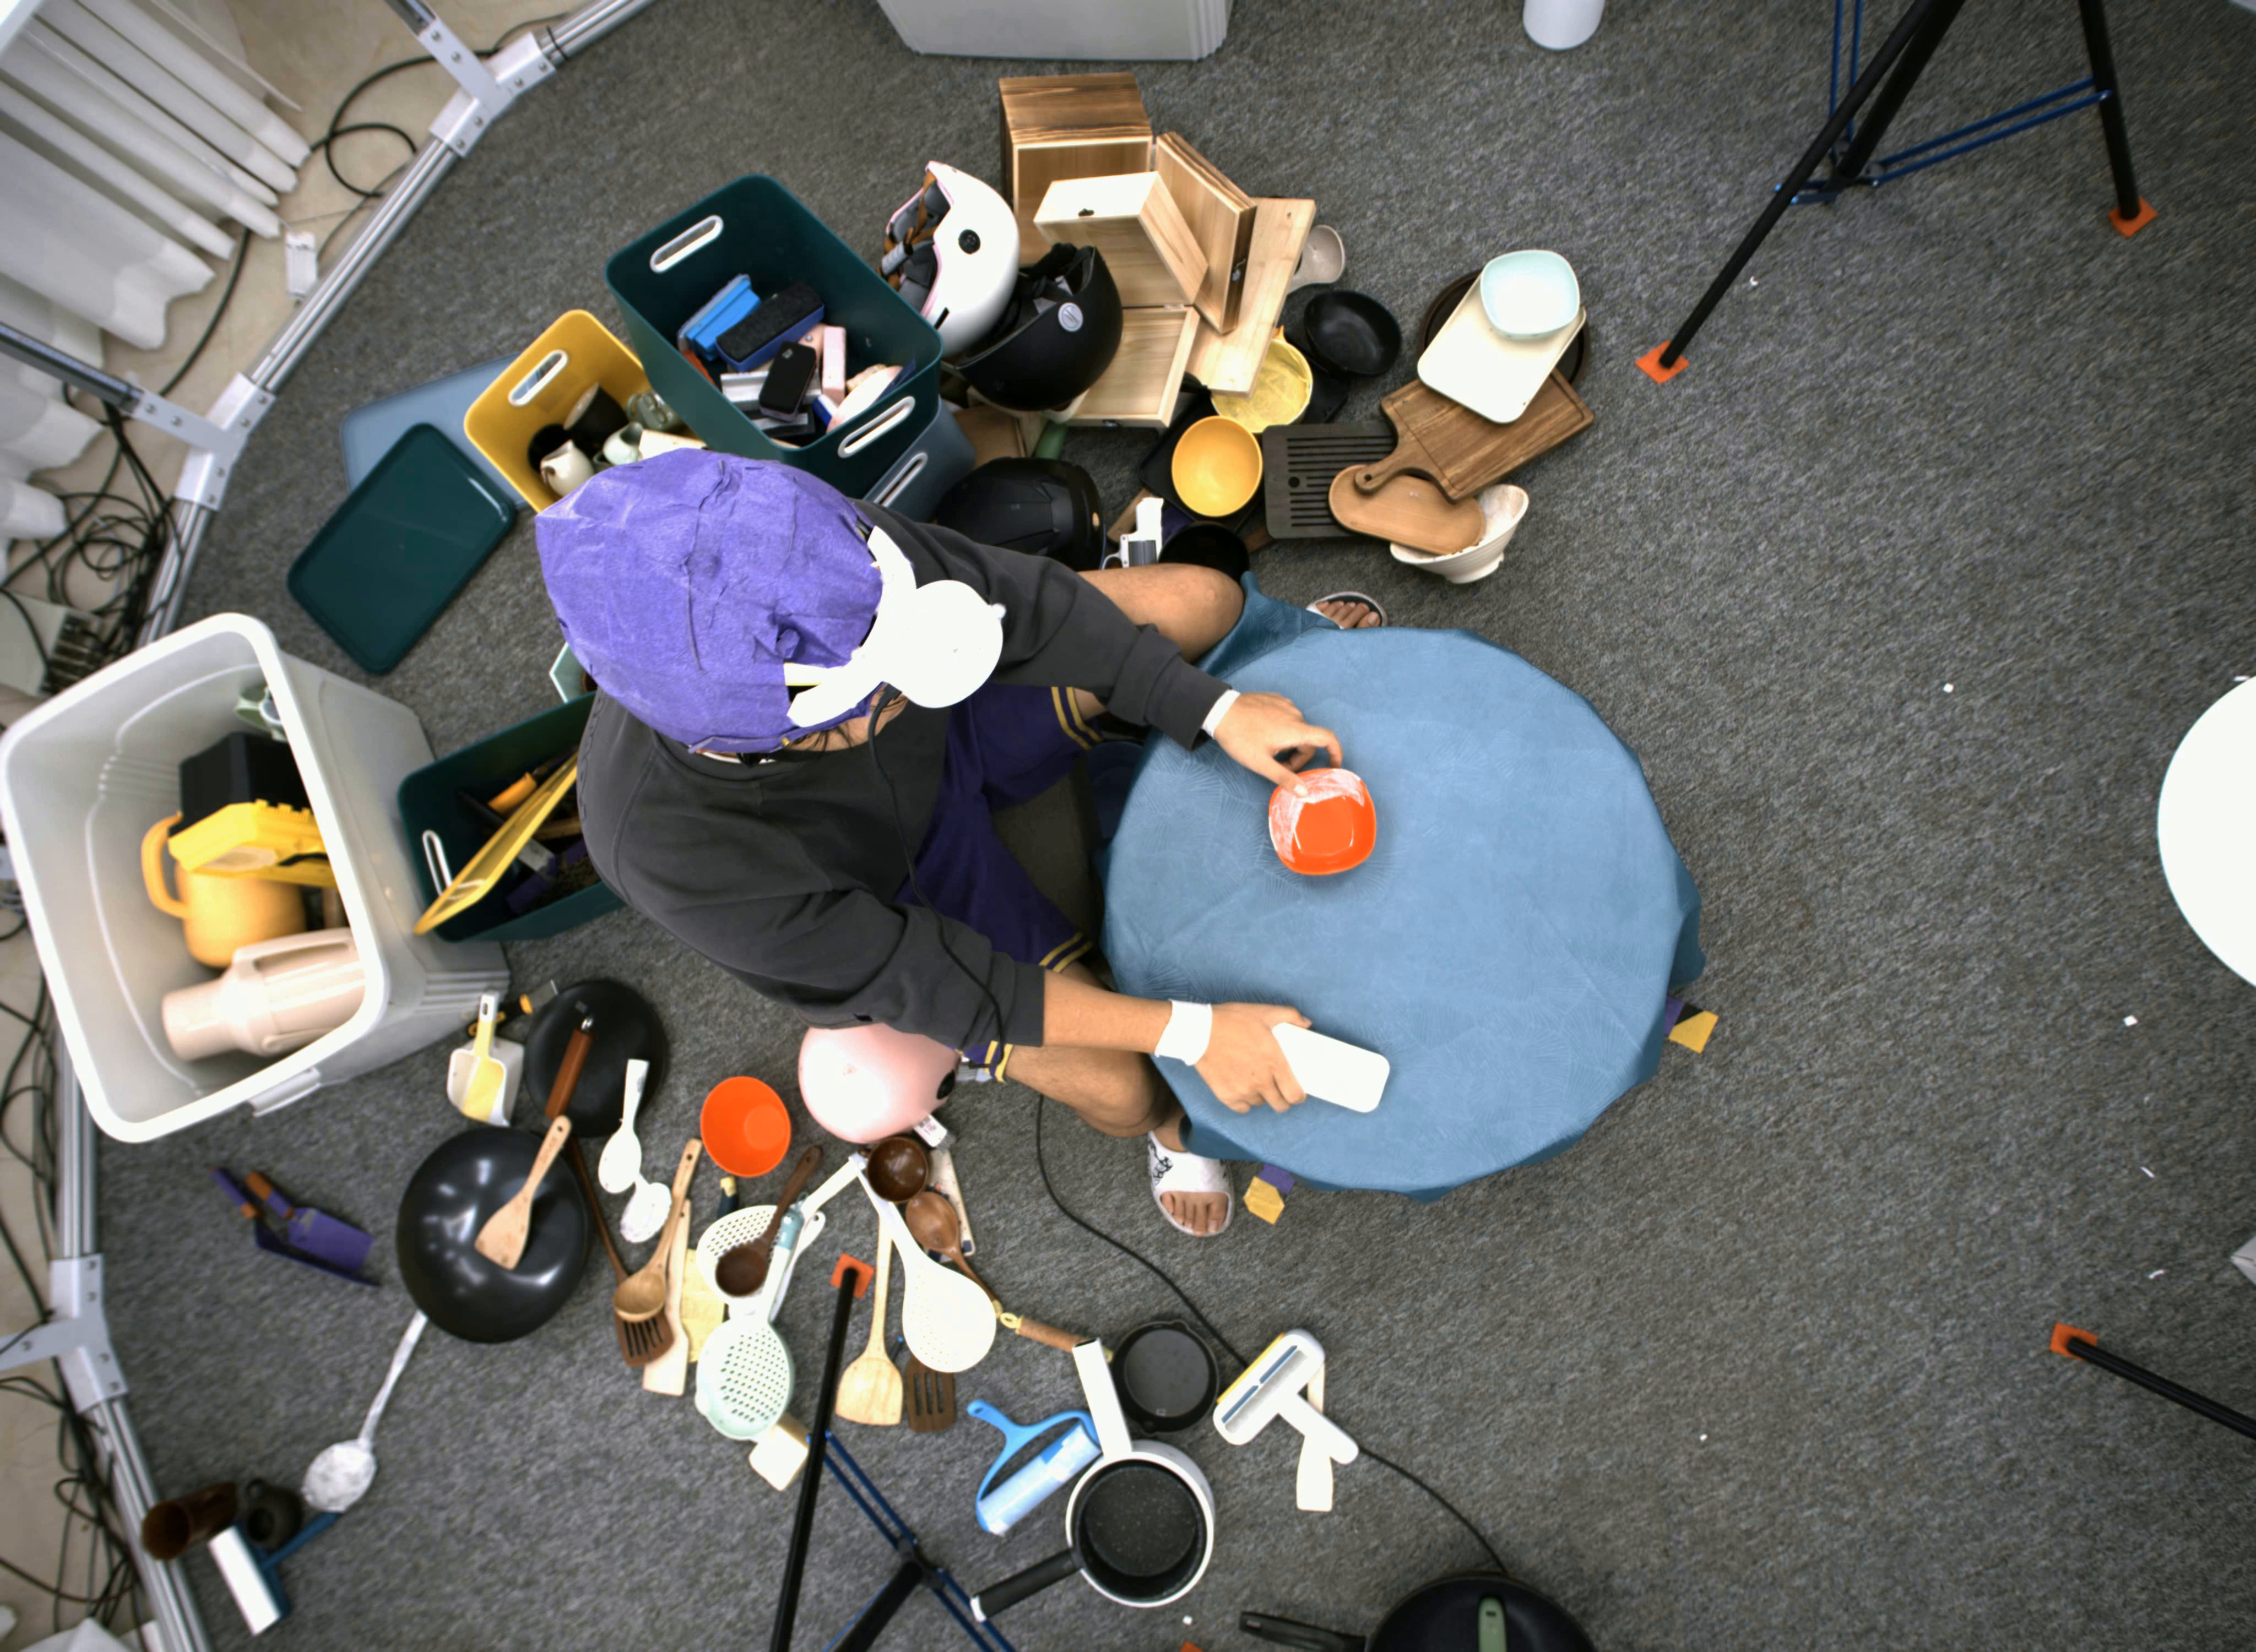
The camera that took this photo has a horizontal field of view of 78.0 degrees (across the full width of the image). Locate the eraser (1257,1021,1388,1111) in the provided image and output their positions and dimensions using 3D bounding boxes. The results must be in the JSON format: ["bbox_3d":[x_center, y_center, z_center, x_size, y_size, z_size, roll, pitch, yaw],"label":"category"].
[{"bbox_3d":[0.202,0.246,1.442,0.131,0.034,0.063,20,92,6],"label":"eraser"}]

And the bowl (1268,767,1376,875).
[{"bbox_3d":[0.204,-0.004,1.450,0.119,0.051,0.118,-1,87,10],"label":"bowl"}]
